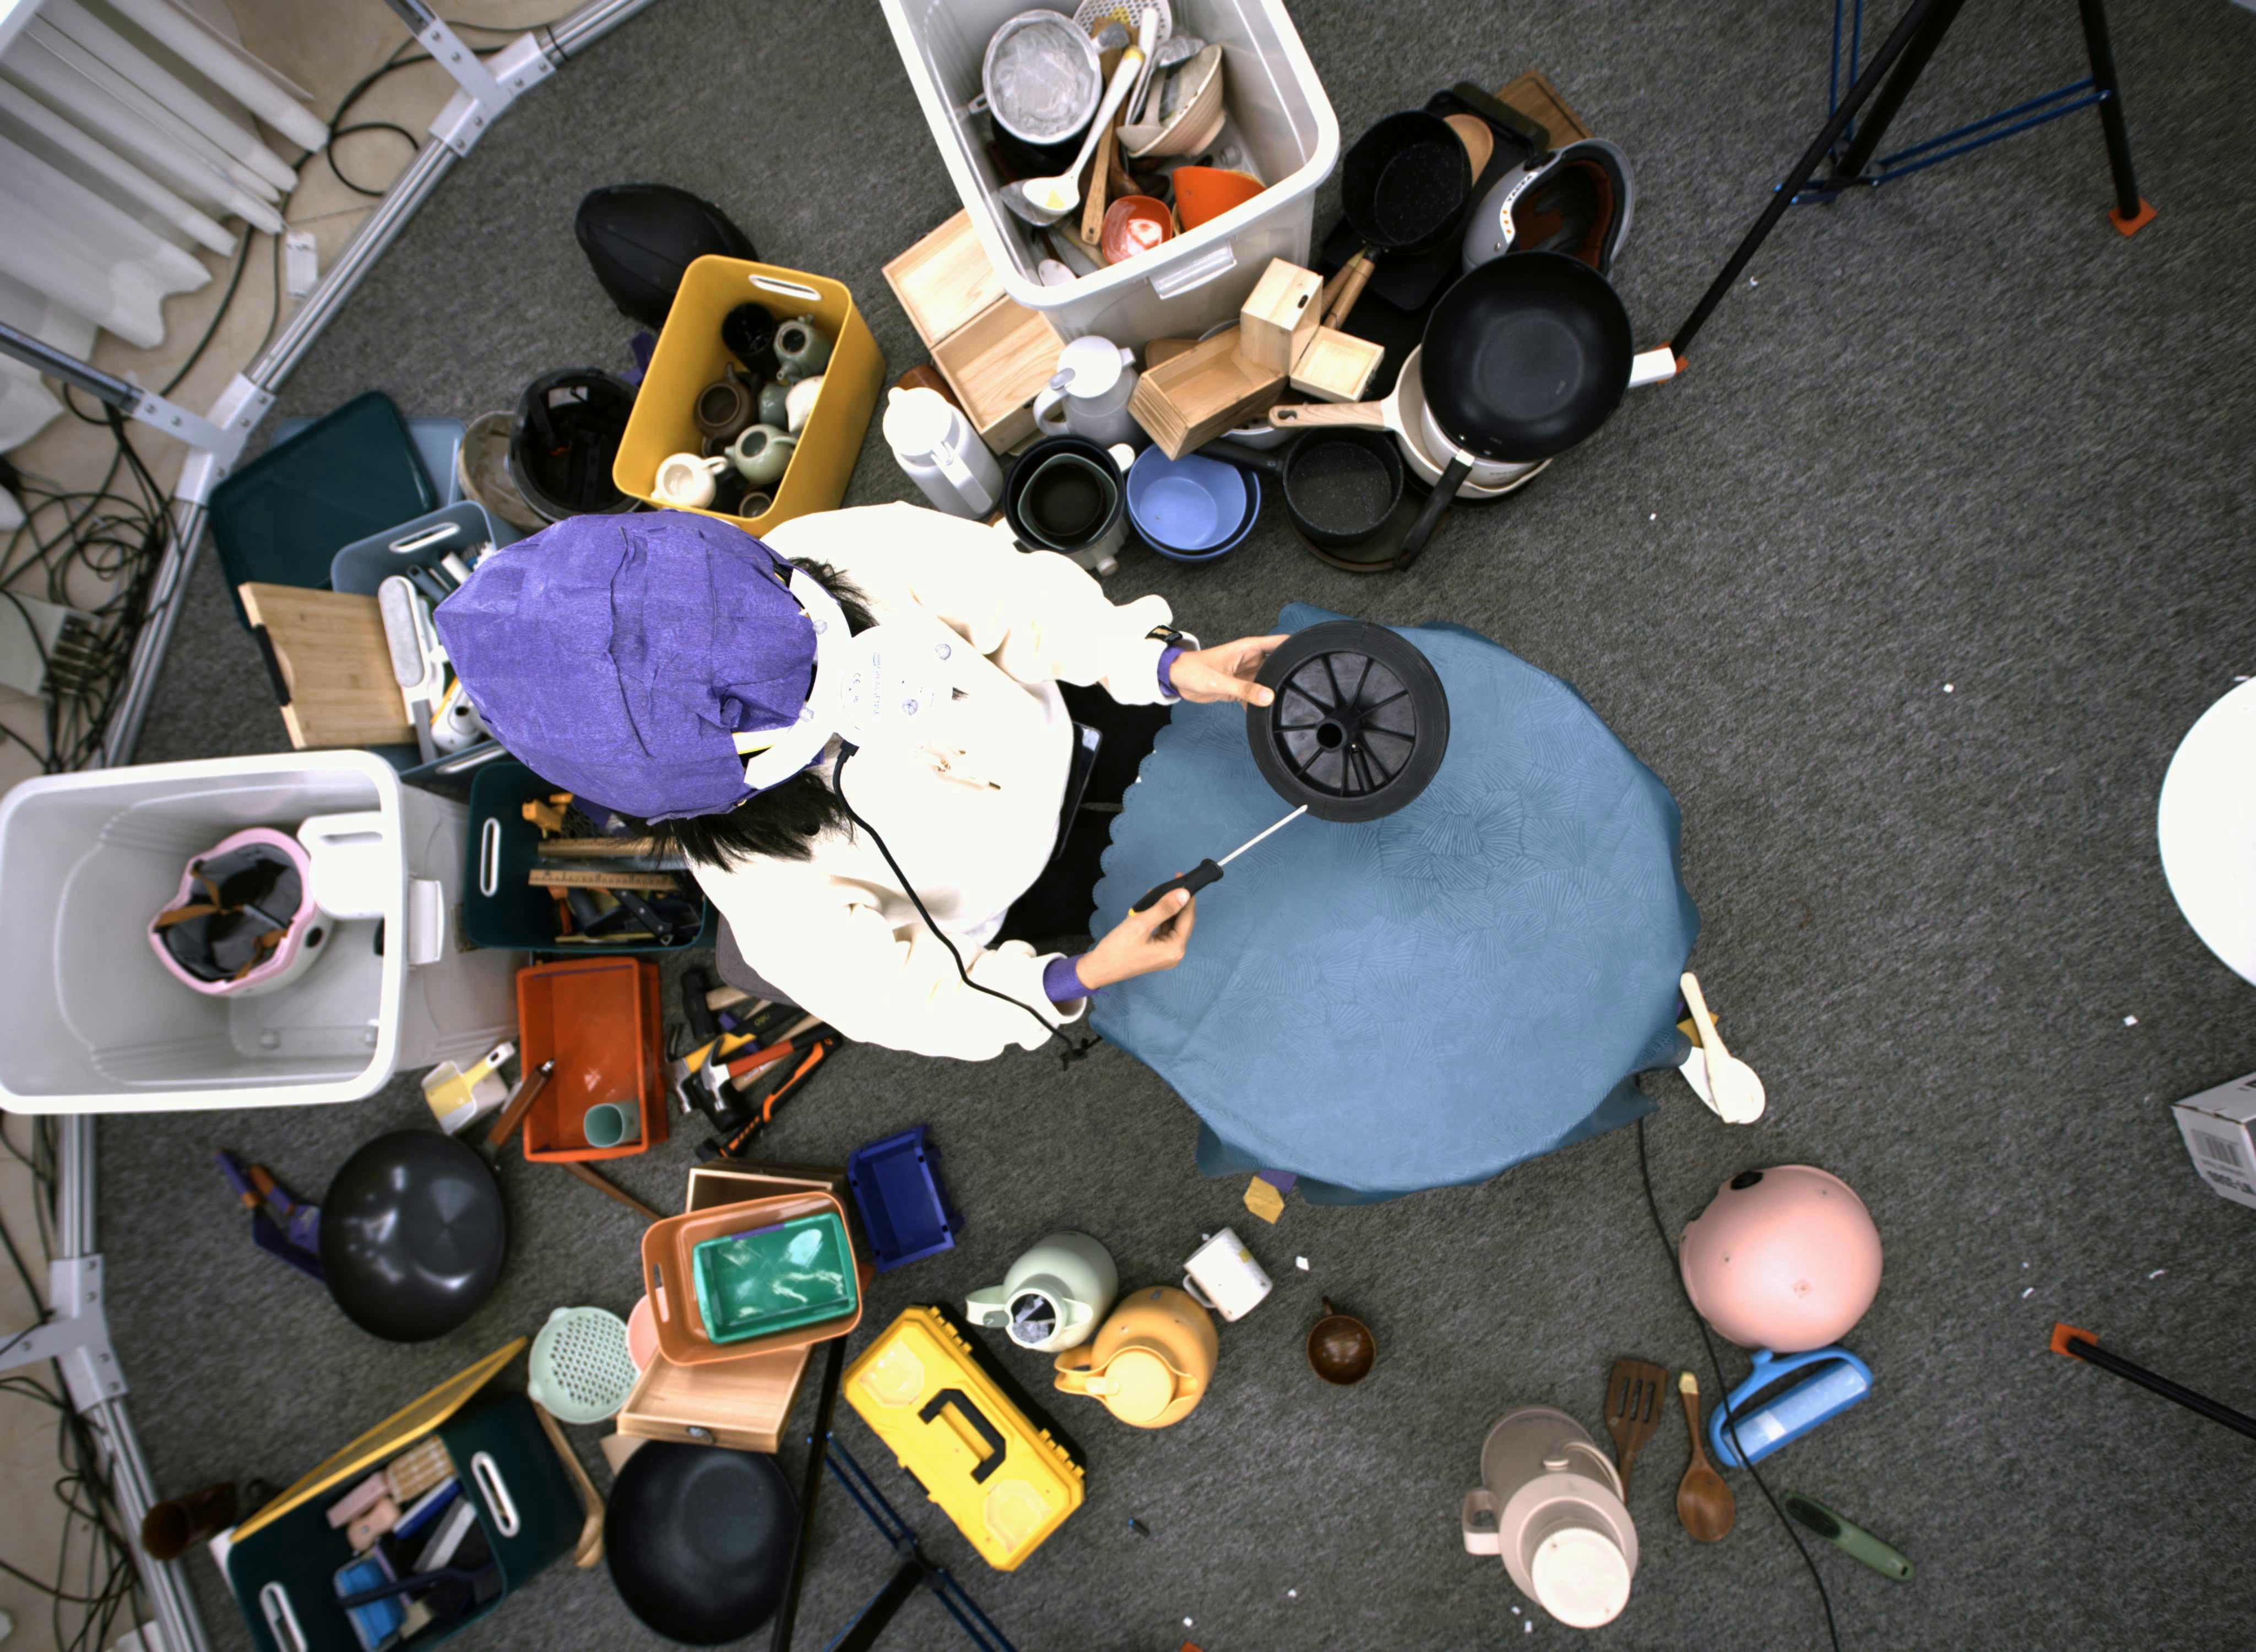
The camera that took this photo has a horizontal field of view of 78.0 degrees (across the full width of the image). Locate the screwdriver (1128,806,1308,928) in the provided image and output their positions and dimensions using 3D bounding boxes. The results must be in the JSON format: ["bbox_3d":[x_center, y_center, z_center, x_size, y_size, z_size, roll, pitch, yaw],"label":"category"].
[{"bbox_3d":[0.086,0.037,1.289,0.197,0.031,0.031,-31,81,6],"label":"screwdriver"}]

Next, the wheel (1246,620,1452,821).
[{"bbox_3d":[0.194,-0.090,1.245,0.190,0.077,0.191,48,119,-1],"label":"wheel"}]
